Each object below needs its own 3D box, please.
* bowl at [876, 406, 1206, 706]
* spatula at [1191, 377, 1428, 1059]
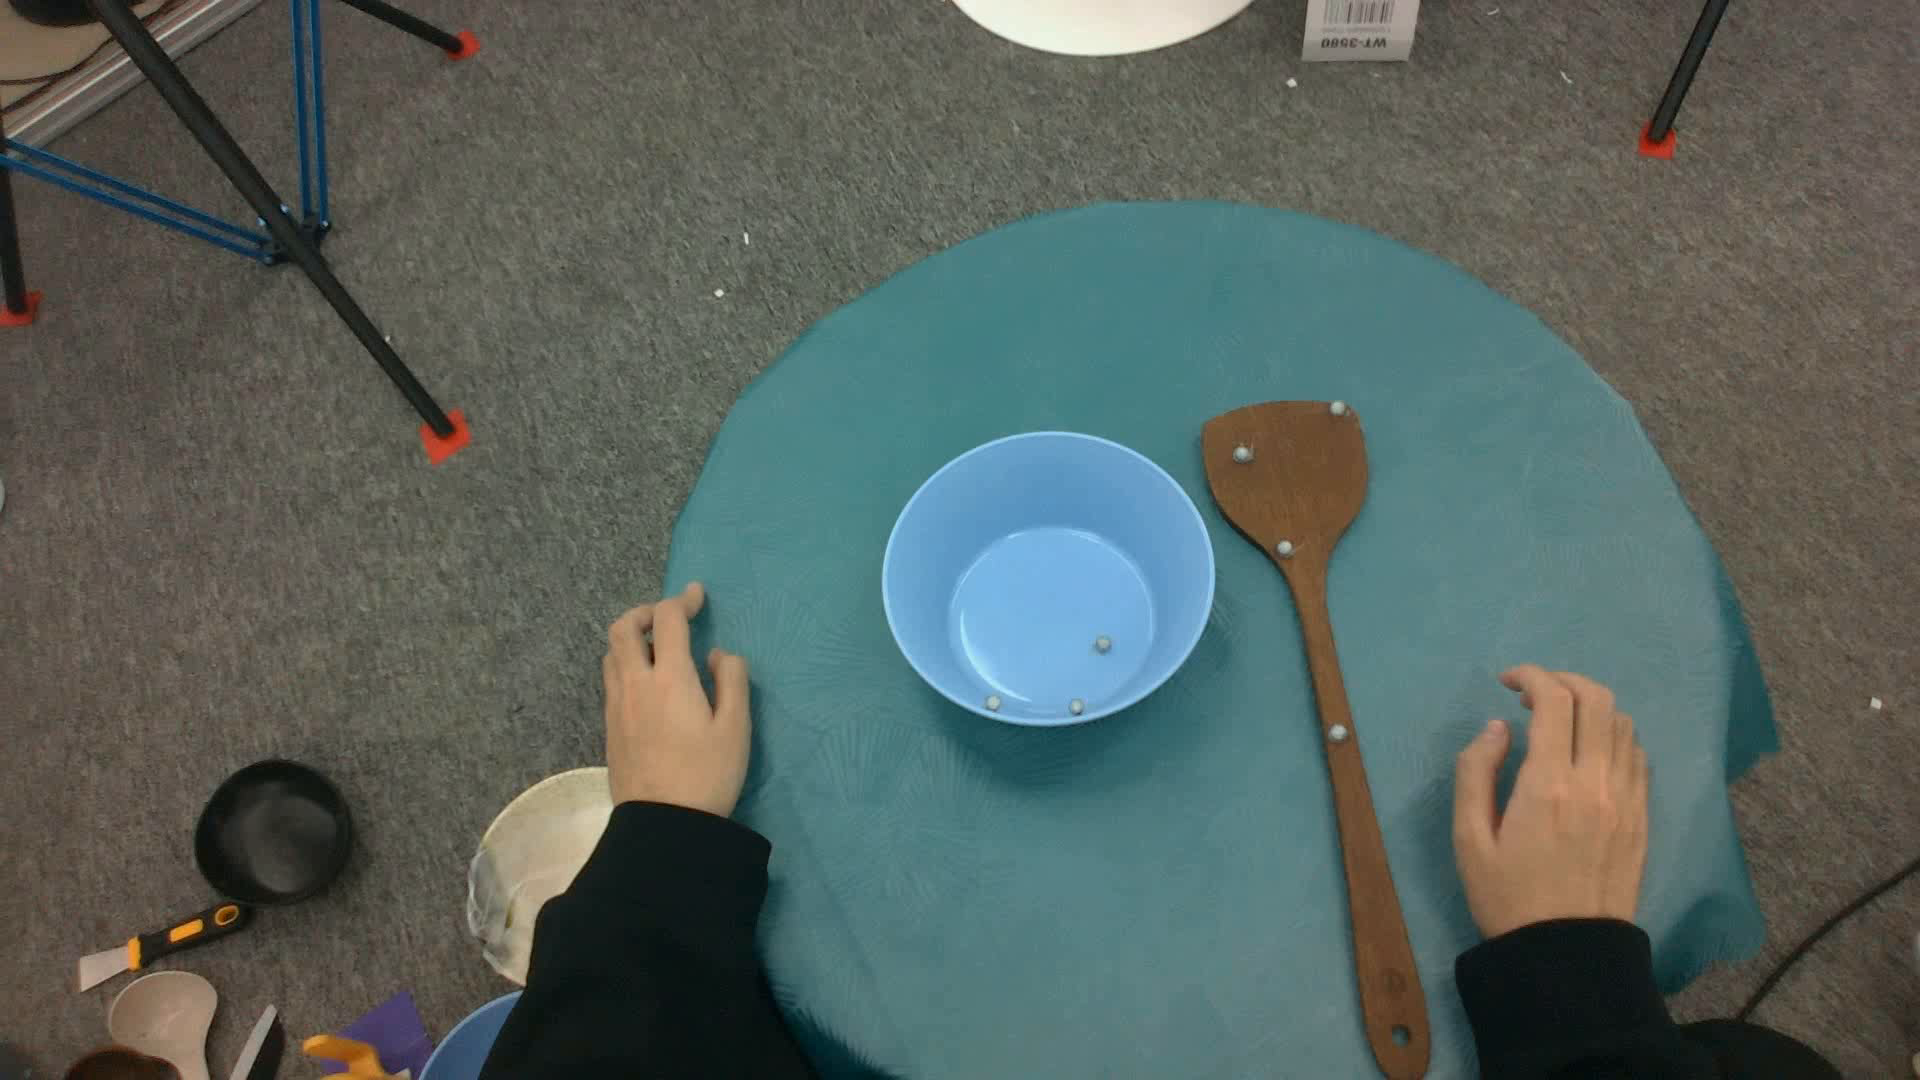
[{"bbox_3d":[0.045,0.018,0.755,0.176,0.070,0.176,-2,63,5],"label":"bowl"},{"bbox_3d":[0.197,0.074,0.740,0.096,0.016,0.387,-6,61,3],"label":"spatula"}]
